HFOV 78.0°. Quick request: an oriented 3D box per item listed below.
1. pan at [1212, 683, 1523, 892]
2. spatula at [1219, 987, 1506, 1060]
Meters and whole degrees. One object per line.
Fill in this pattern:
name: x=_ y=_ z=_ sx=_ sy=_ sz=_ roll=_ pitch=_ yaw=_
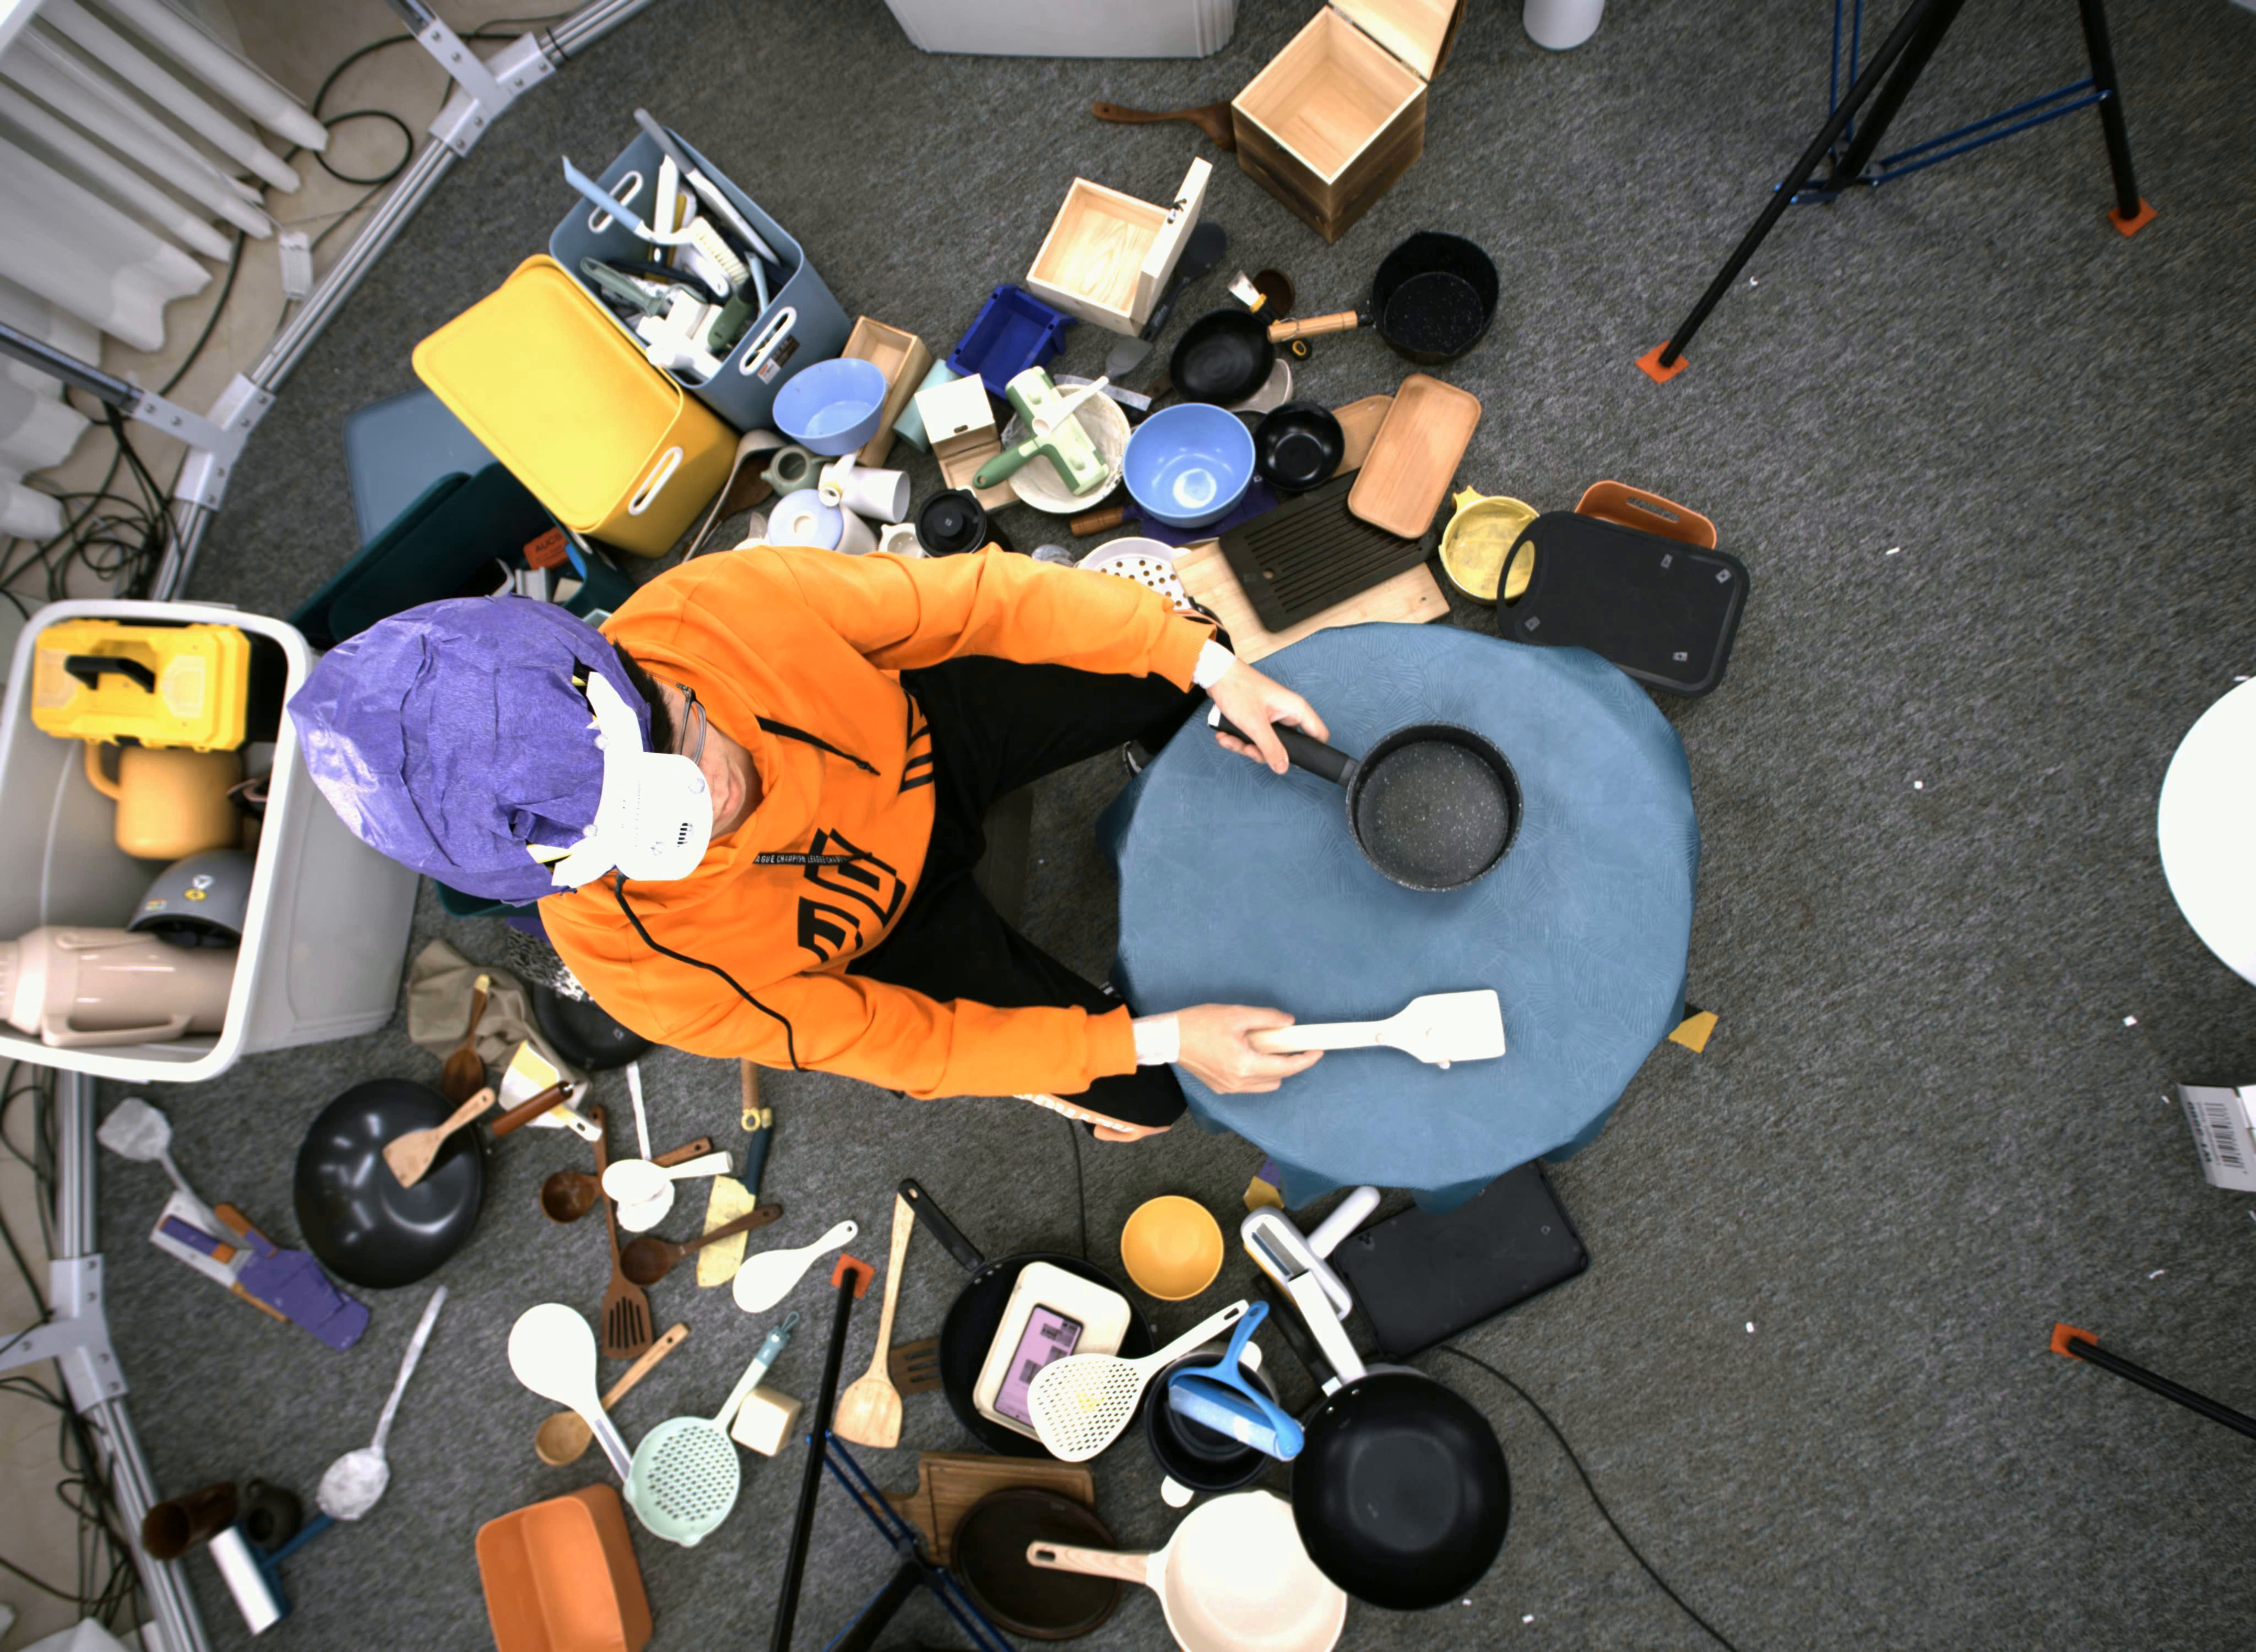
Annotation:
pan: x=0.237 y=-0.053 z=1.400 sx=0.328 sy=0.086 sz=0.172 roll=27 pitch=90 yaw=11
spatula: x=0.240 y=0.213 z=1.427 sx=0.294 sy=0.011 sz=0.071 roll=-6 pitch=75 yaw=3
